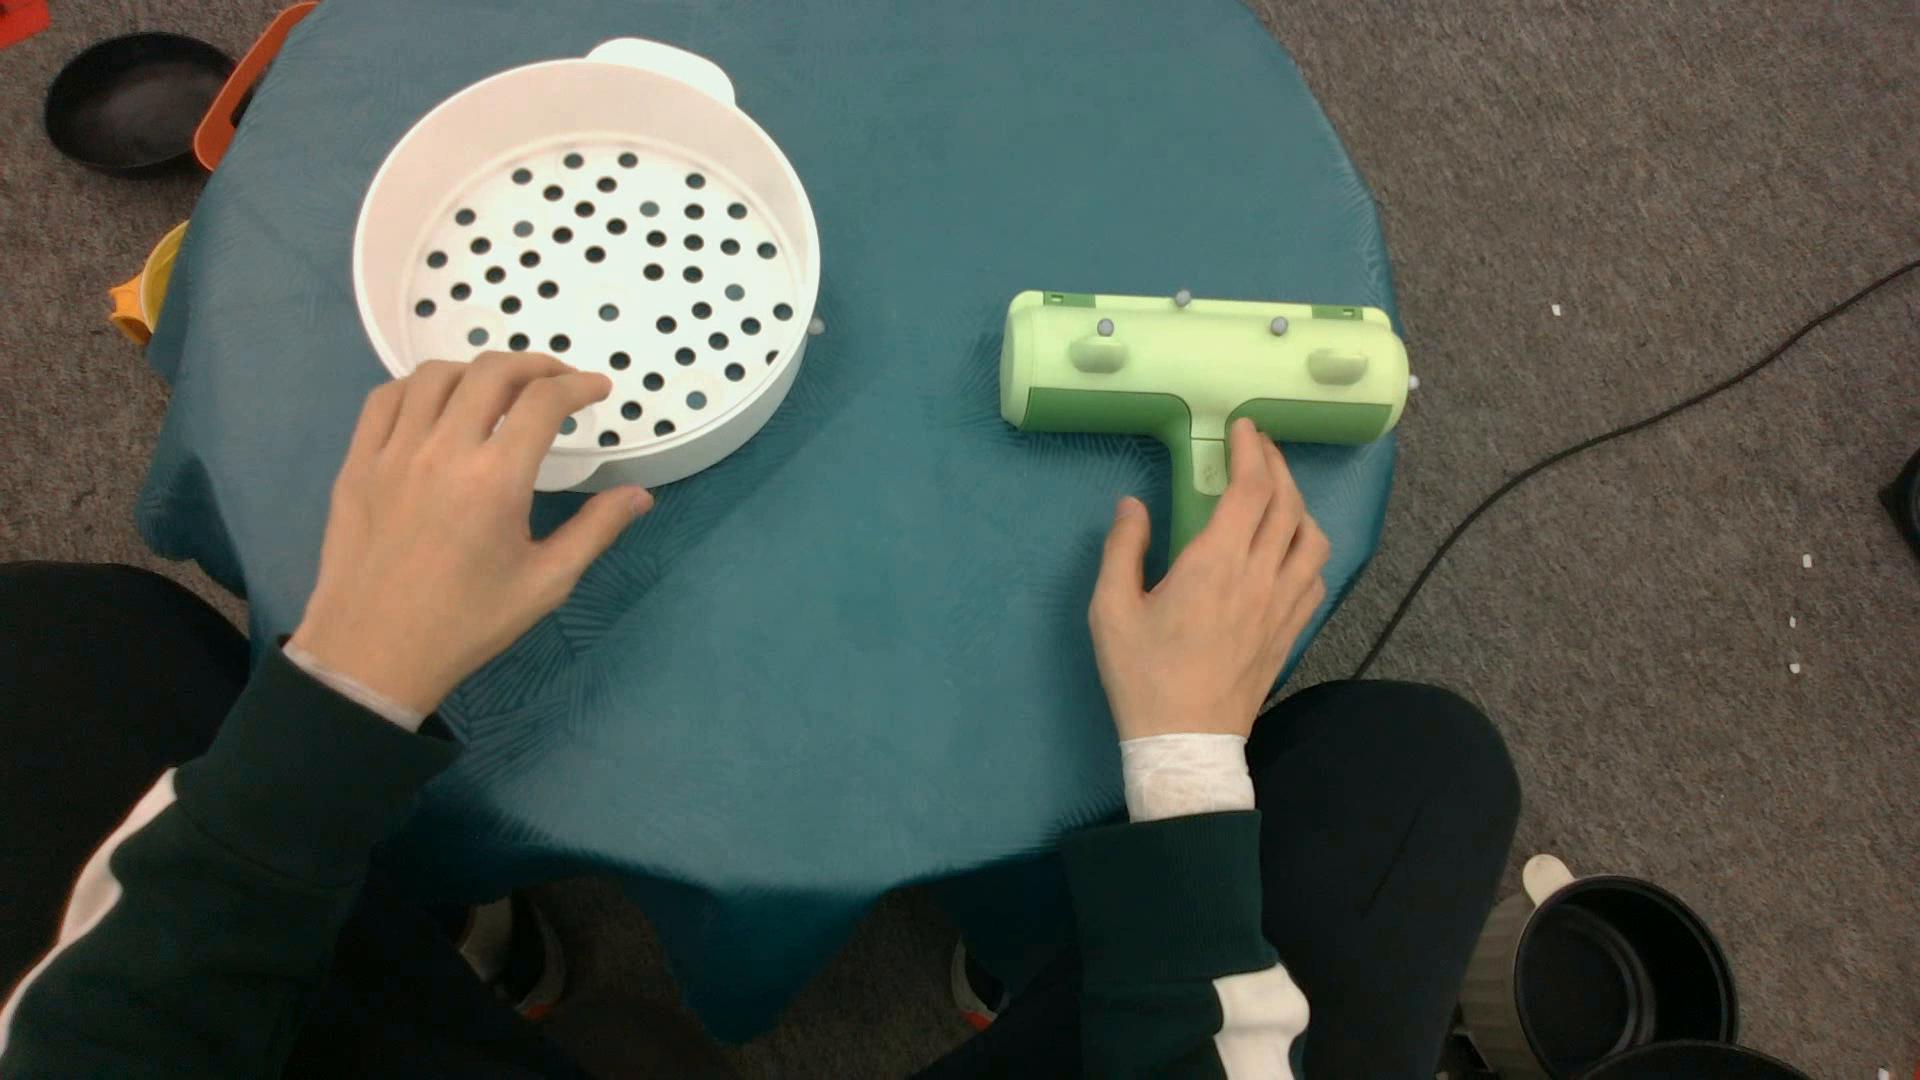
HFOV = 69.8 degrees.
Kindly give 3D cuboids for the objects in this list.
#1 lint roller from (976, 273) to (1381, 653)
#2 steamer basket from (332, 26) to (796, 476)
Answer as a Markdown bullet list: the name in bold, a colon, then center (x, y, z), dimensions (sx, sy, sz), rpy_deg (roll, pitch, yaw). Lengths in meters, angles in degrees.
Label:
- **lint roller**: center (0.110, -0.044, 0.654), dimensions (0.199, 0.082, 0.184), rpy_deg (1, 68, -8)
- **steamer basket**: center (-0.179, -0.128, 0.645), dimensions (0.202, 0.069, 0.231), rpy_deg (14, 69, -4)
